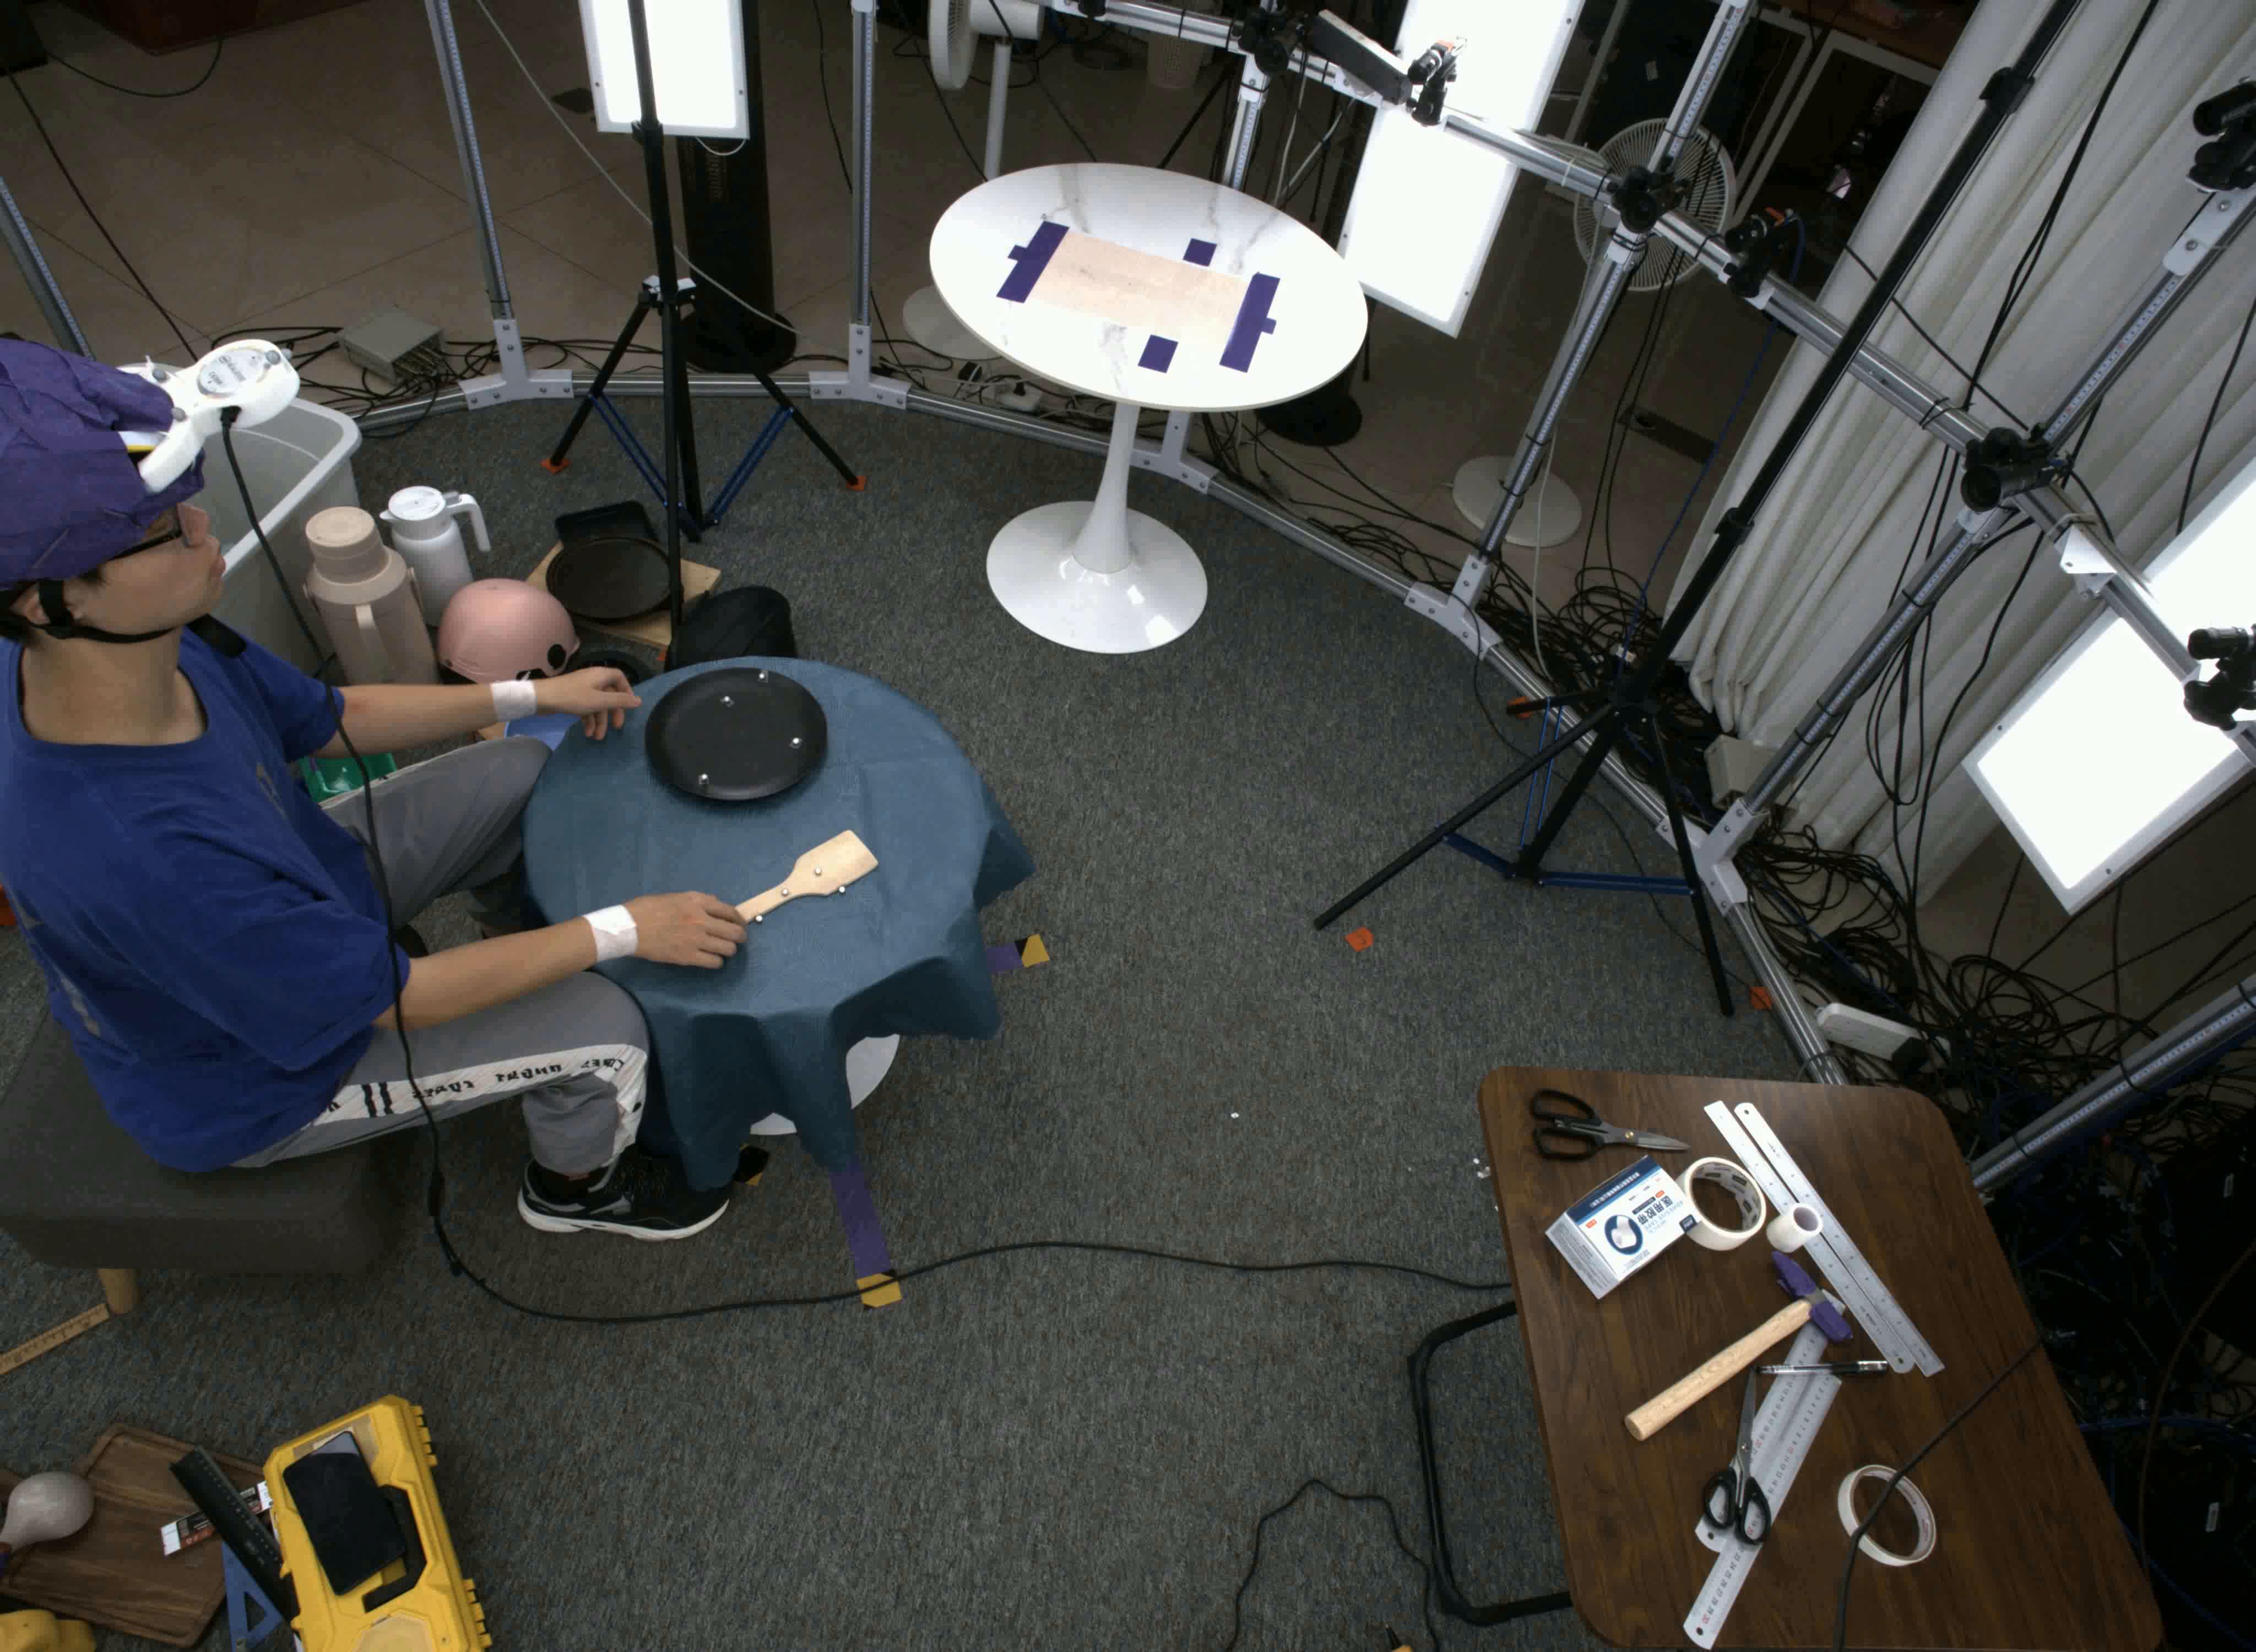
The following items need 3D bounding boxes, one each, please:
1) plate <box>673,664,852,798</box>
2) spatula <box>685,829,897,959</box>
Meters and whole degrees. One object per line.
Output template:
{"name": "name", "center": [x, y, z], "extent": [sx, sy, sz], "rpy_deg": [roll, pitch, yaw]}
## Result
{"name": "plate", "center": [-0.506, -0.129, 1.794], "extent": [0.244, 0.024, 0.240], "rpy_deg": [8, 53, -8]}
{"name": "spatula", "center": [-0.432, 0.090, 1.659], "extent": [0.294, 0.011, 0.070], "rpy_deg": [-30, 68, -31]}
